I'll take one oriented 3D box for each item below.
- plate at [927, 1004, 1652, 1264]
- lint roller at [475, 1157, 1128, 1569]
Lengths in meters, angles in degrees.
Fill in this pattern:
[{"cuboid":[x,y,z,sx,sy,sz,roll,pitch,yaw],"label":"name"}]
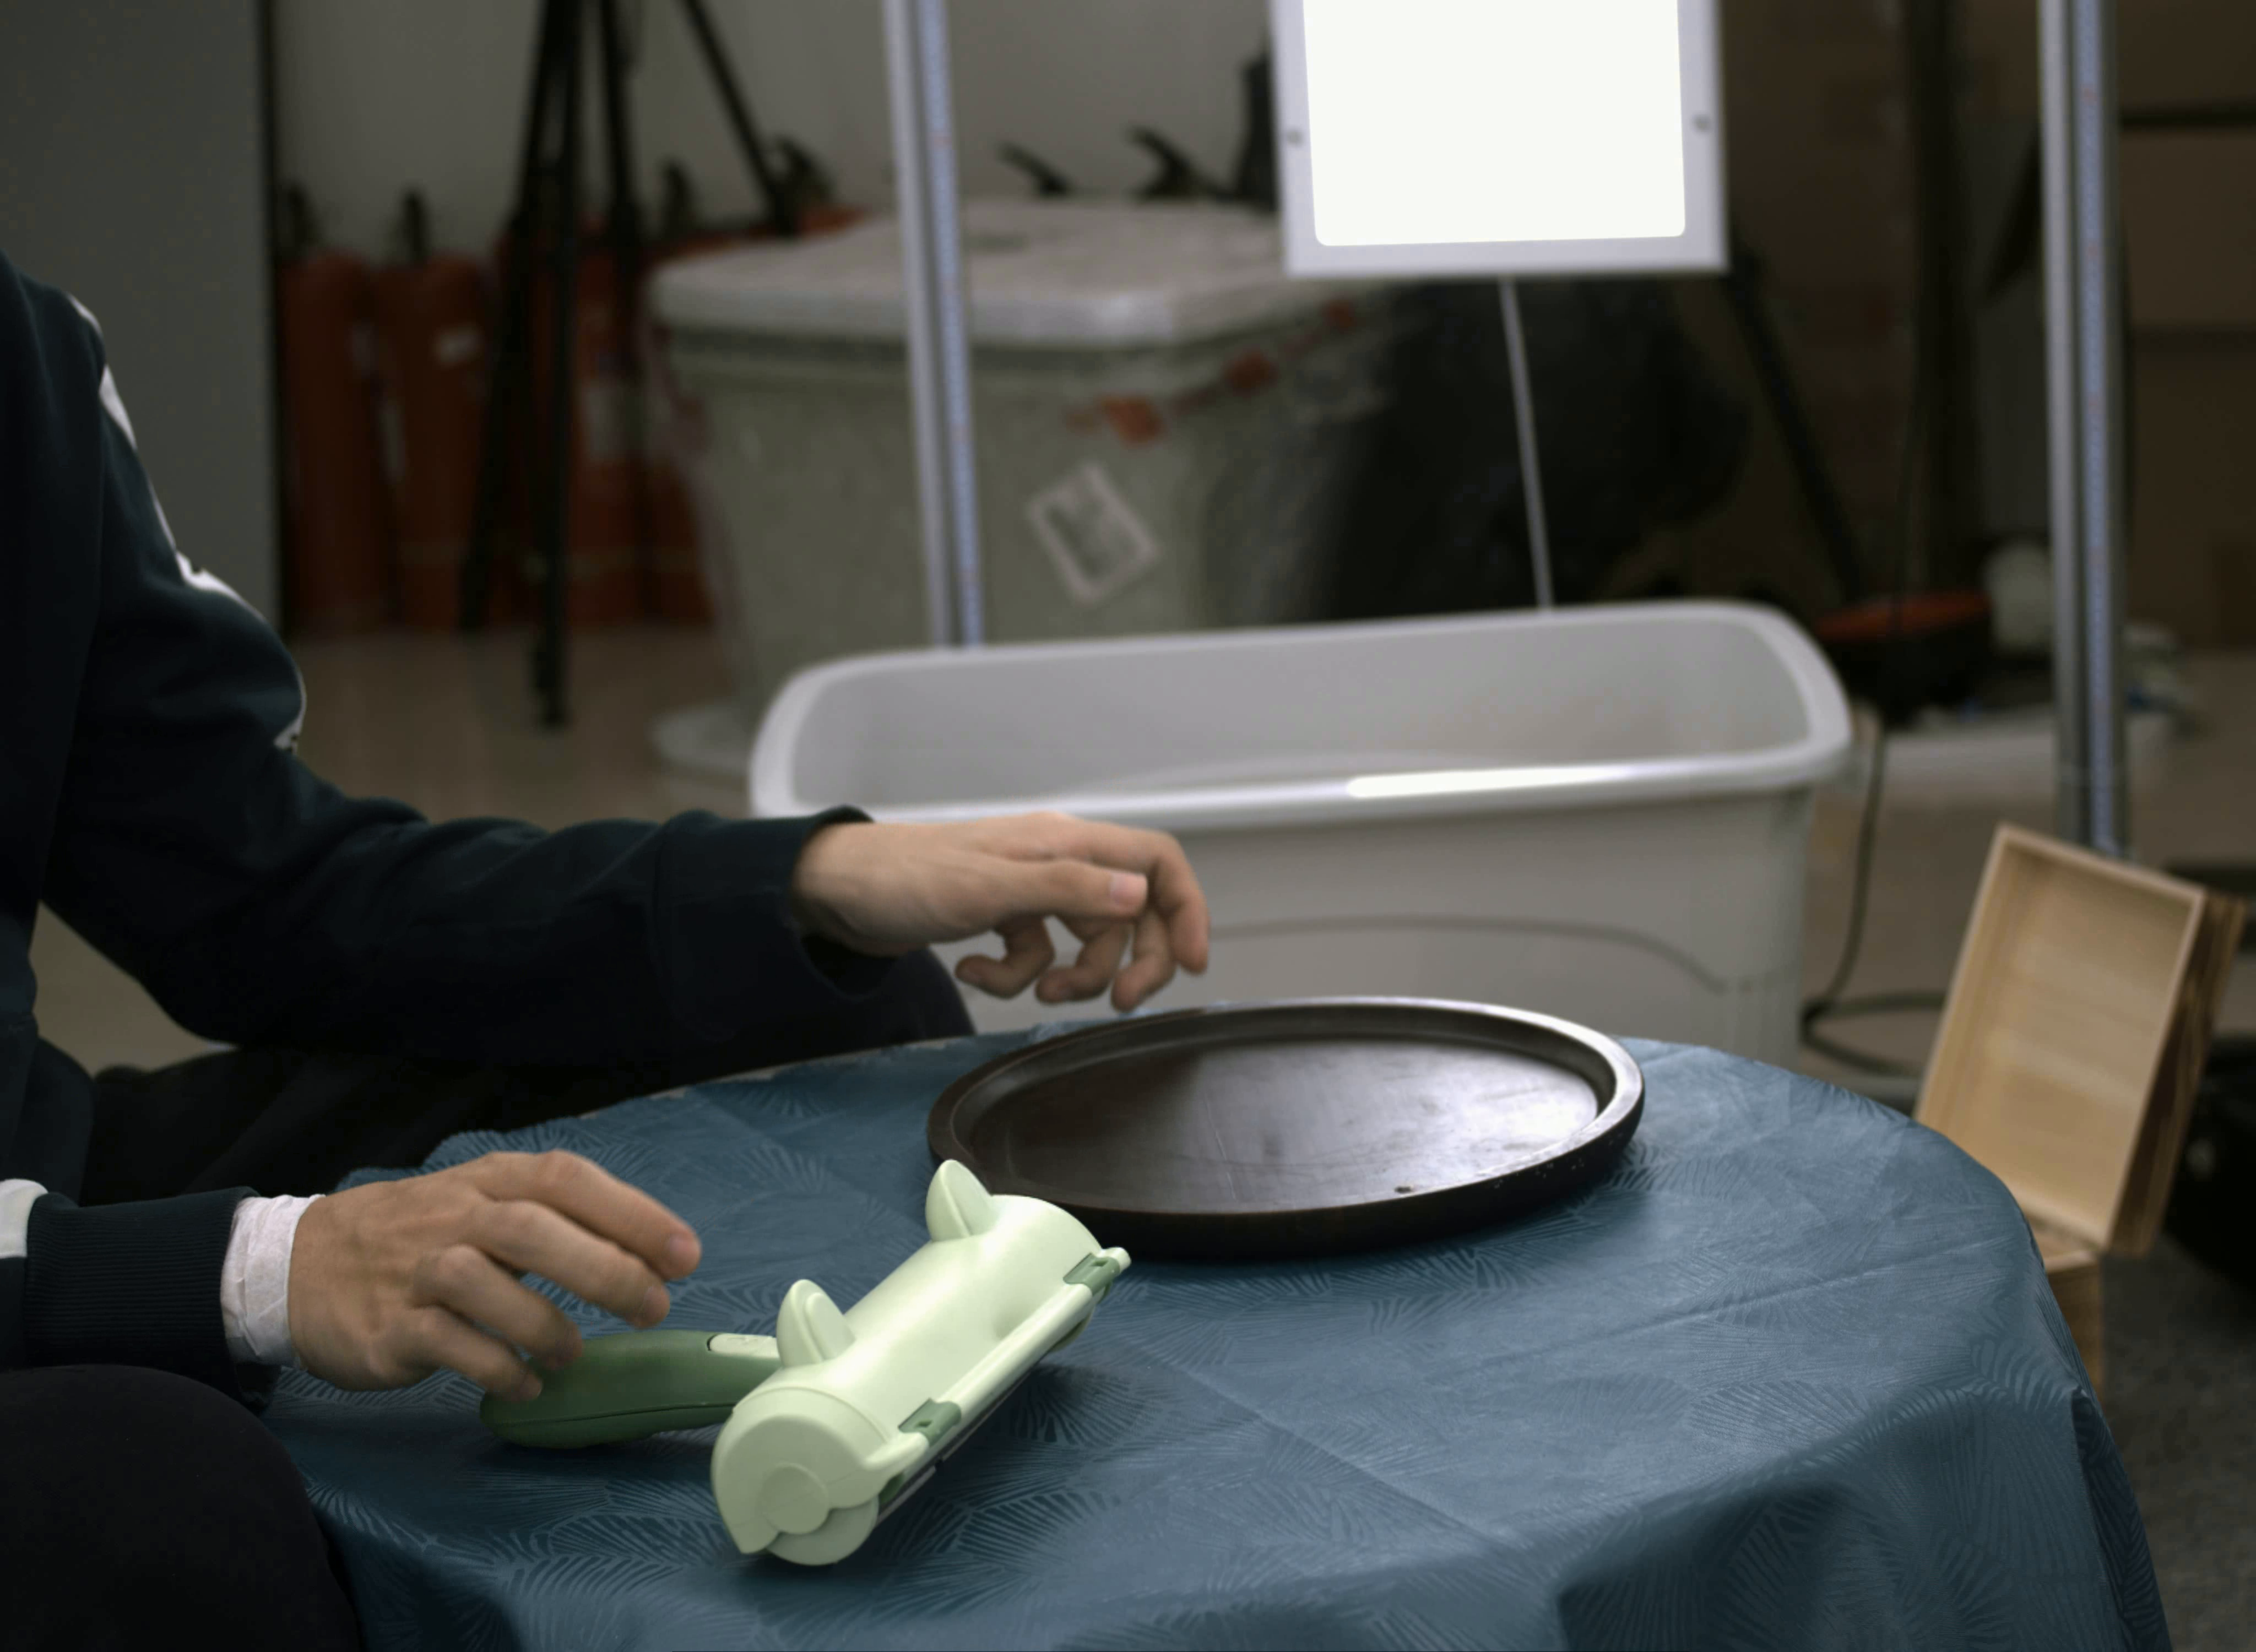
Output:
[{"cuboid":[0.056,0.104,1.914,0.254,0.029,0.254,-5,15,0],"label":"plate"},{"cuboid":[-0.115,0.152,1.663,0.186,0.082,0.195,4,16,21],"label":"lint roller"}]
